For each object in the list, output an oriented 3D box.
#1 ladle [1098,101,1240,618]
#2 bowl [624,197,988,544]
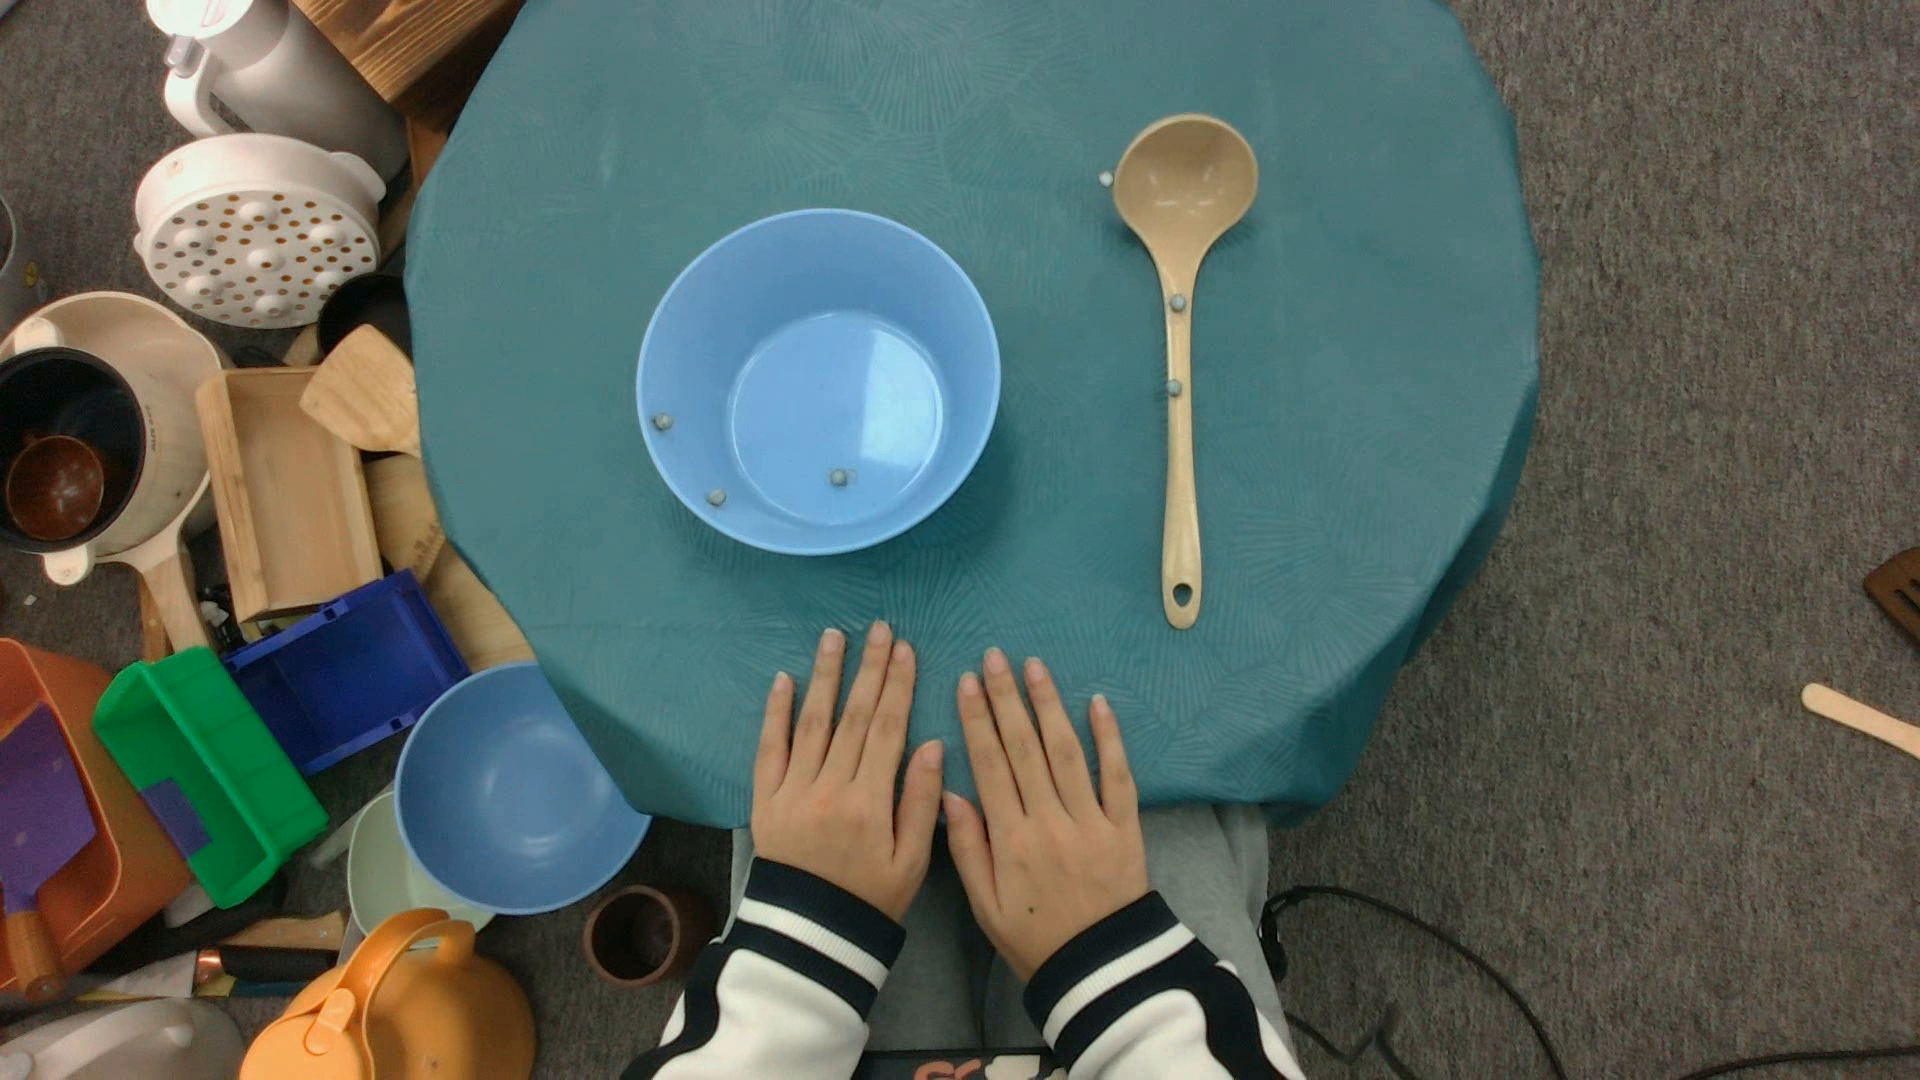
[{"bbox_3d":[0.108,-0.093,0.679,0.072,0.072,0.255,-1,76,1],"label":"ladle"},{"bbox_3d":[-0.071,-0.076,0.687,0.176,0.070,0.176,-1,76,4],"label":"bowl"}]
